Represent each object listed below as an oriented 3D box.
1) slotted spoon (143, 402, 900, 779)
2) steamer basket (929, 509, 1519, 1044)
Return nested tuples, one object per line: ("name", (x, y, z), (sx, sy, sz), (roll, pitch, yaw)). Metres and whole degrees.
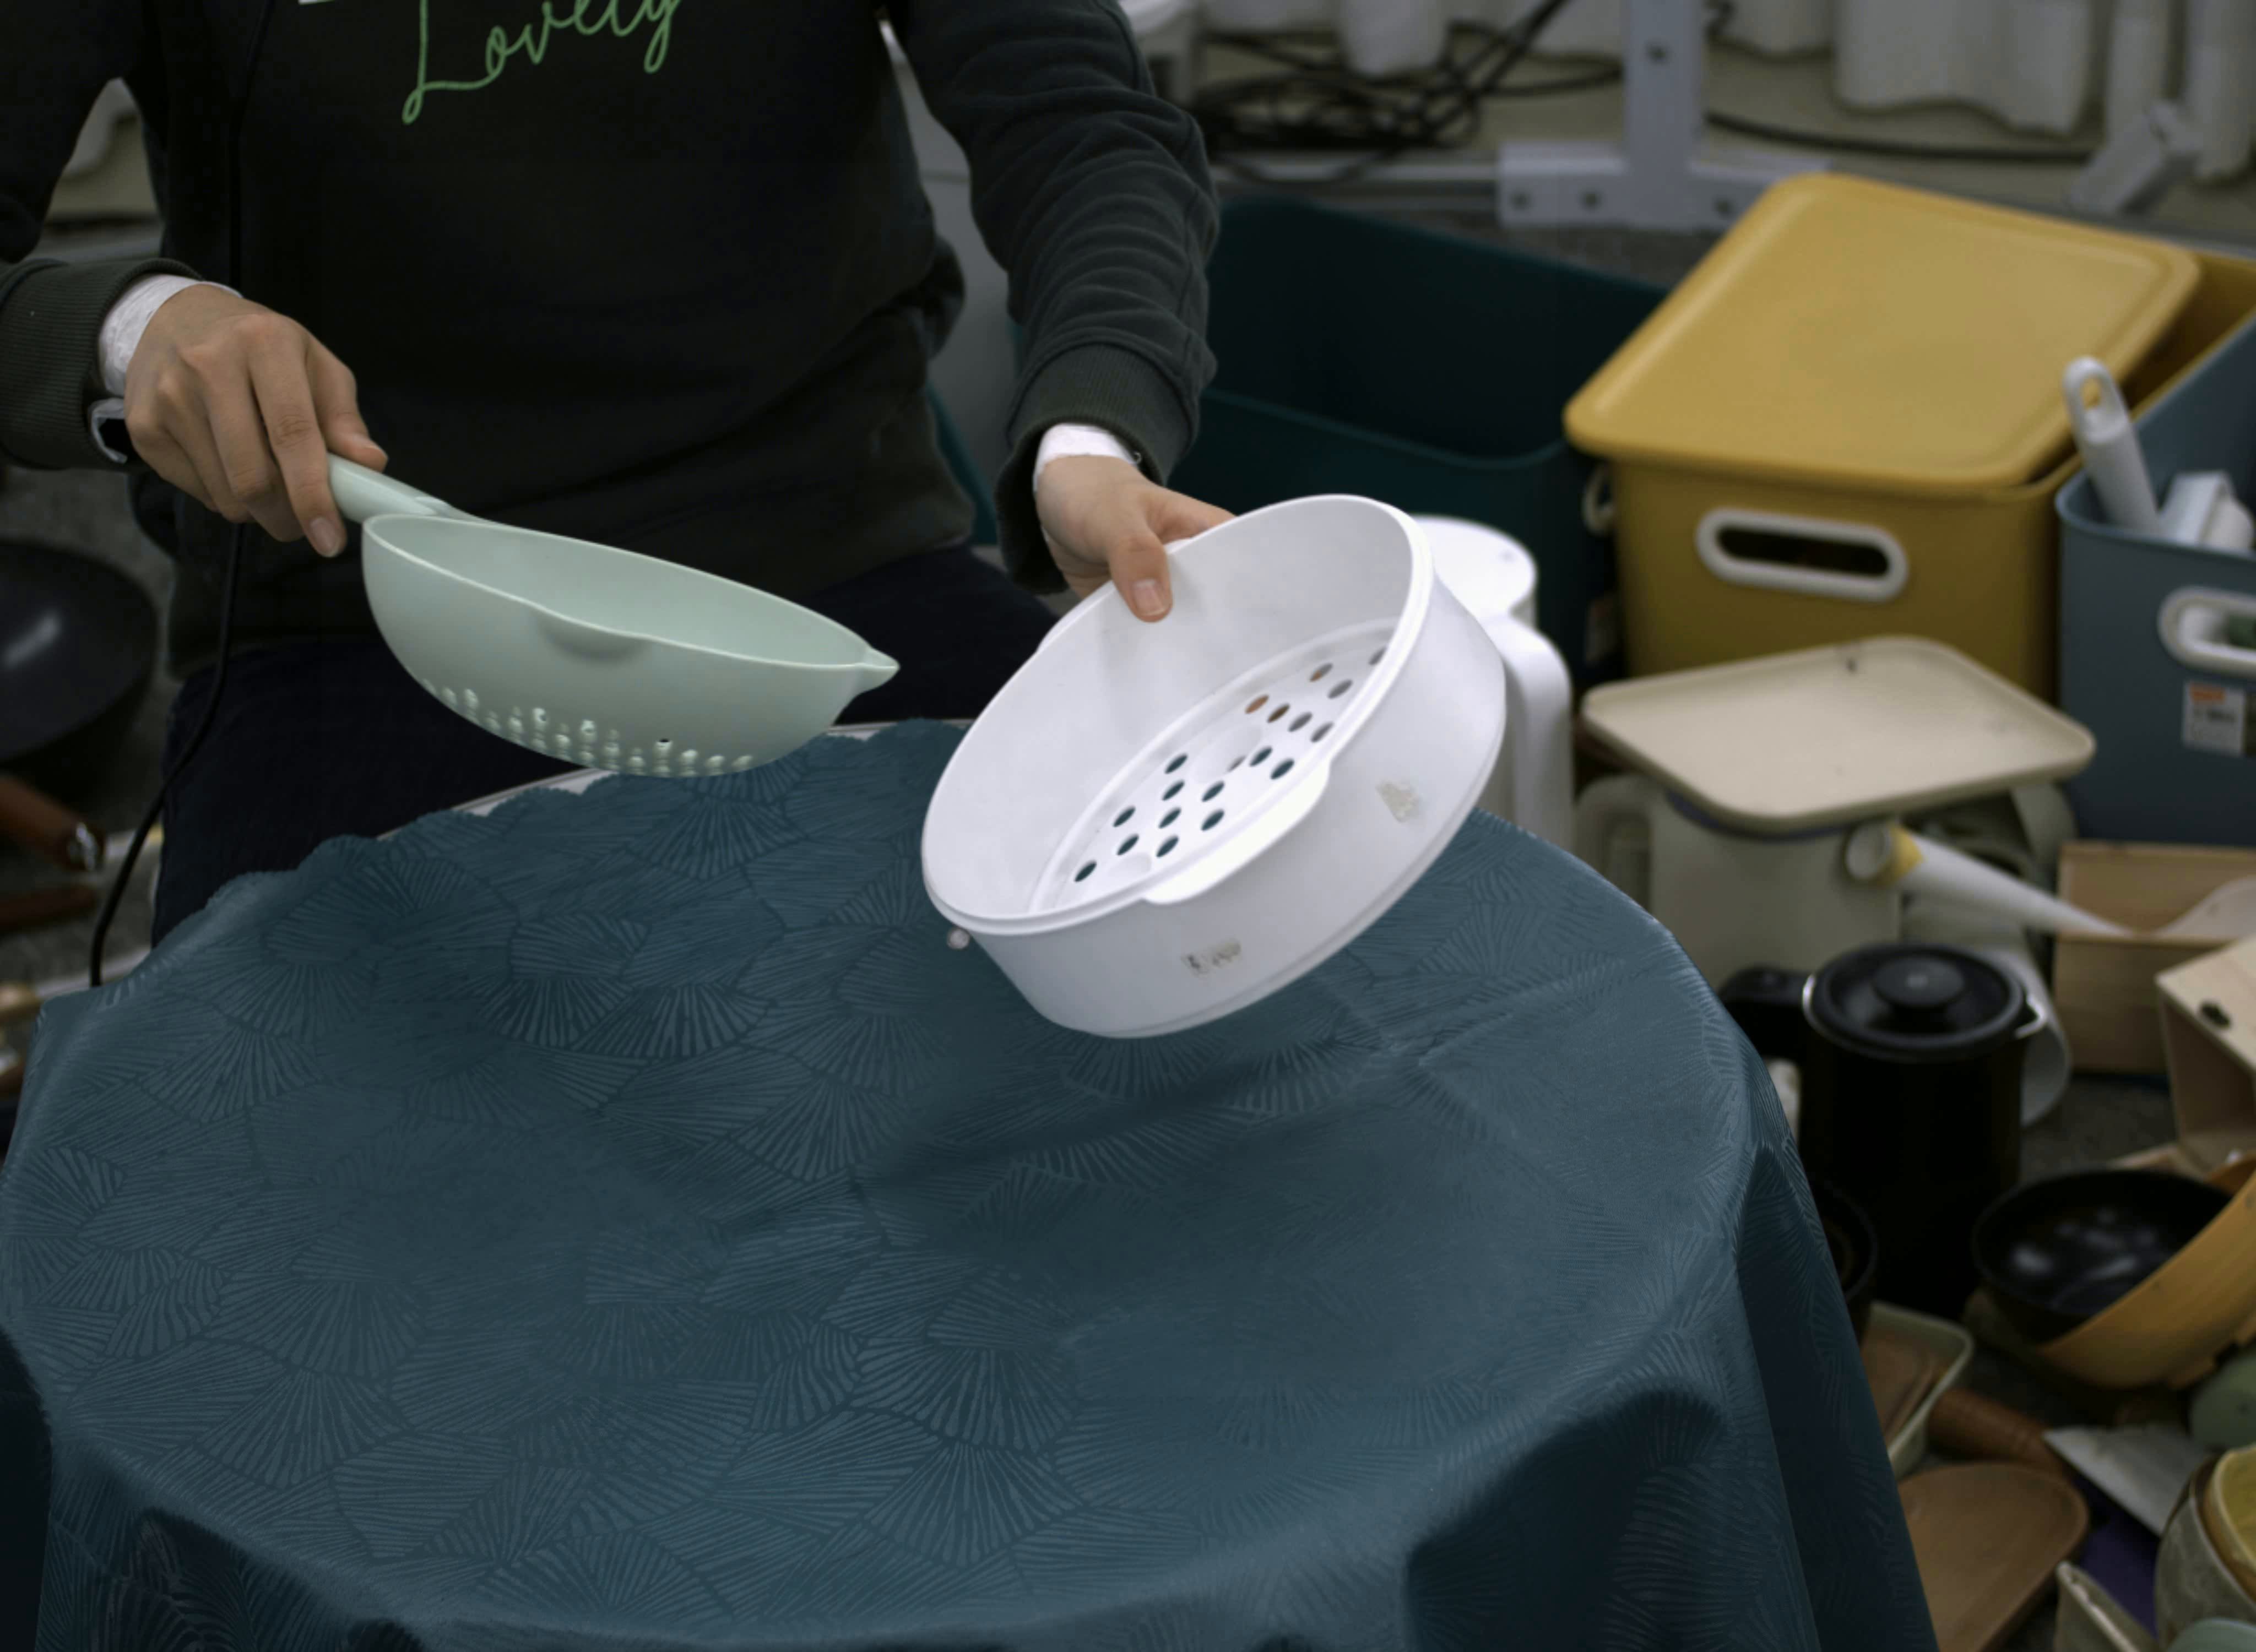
("slotted spoon", (-0.229, -0.093, 1.882), (0.169, 0.075, 0.360), (9, 19, -44))
("steamer basket", (0.034, -0.014, 1.840), (0.201, 0.069, 0.233), (-35, 25, 2))
